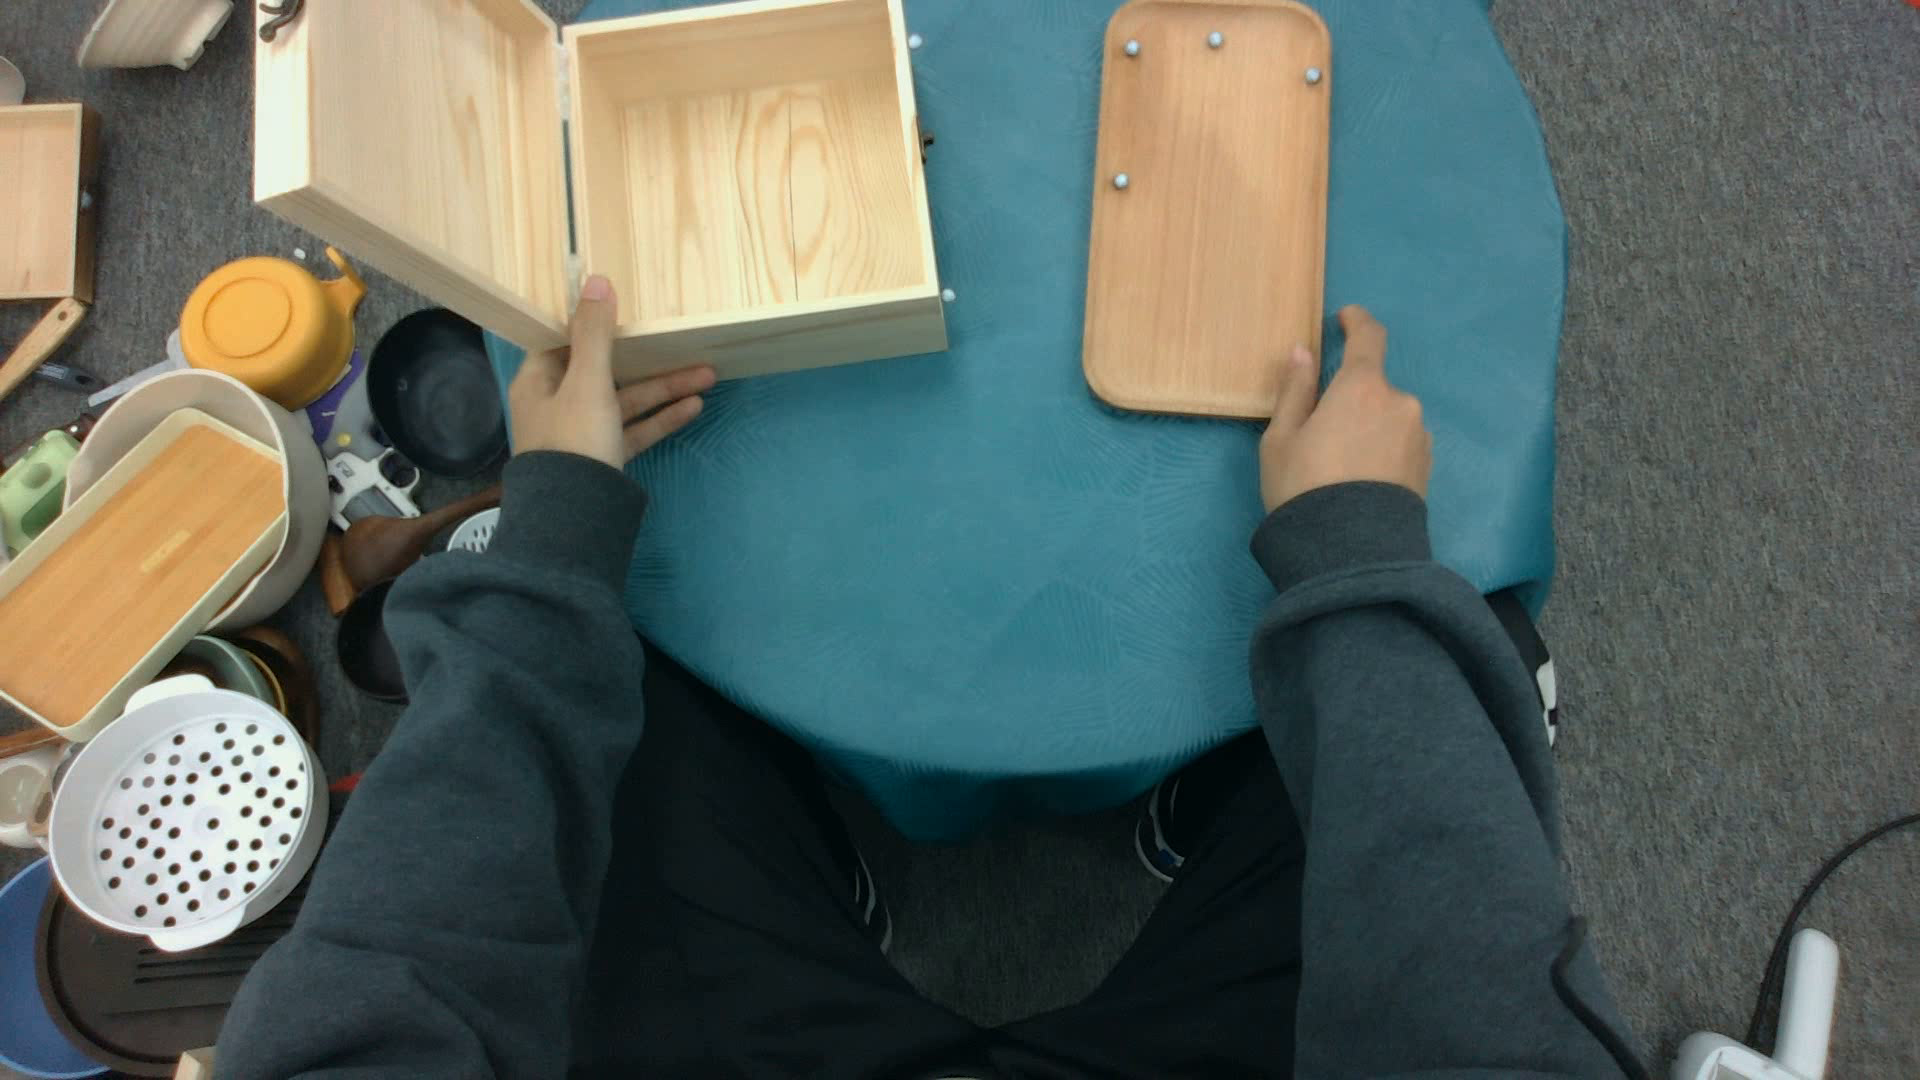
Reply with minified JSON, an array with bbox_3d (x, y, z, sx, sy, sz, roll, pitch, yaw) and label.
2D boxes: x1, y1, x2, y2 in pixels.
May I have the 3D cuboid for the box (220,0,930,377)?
[{"bbox_3d":[-0.158,-0.208,0.661,0.265,0.253,0.182,-9,79,1],"label":"box"}]

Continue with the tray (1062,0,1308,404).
[{"bbox_3d":[0.126,-0.195,0.764,0.130,0.023,0.251,4,77,5],"label":"tray"}]
